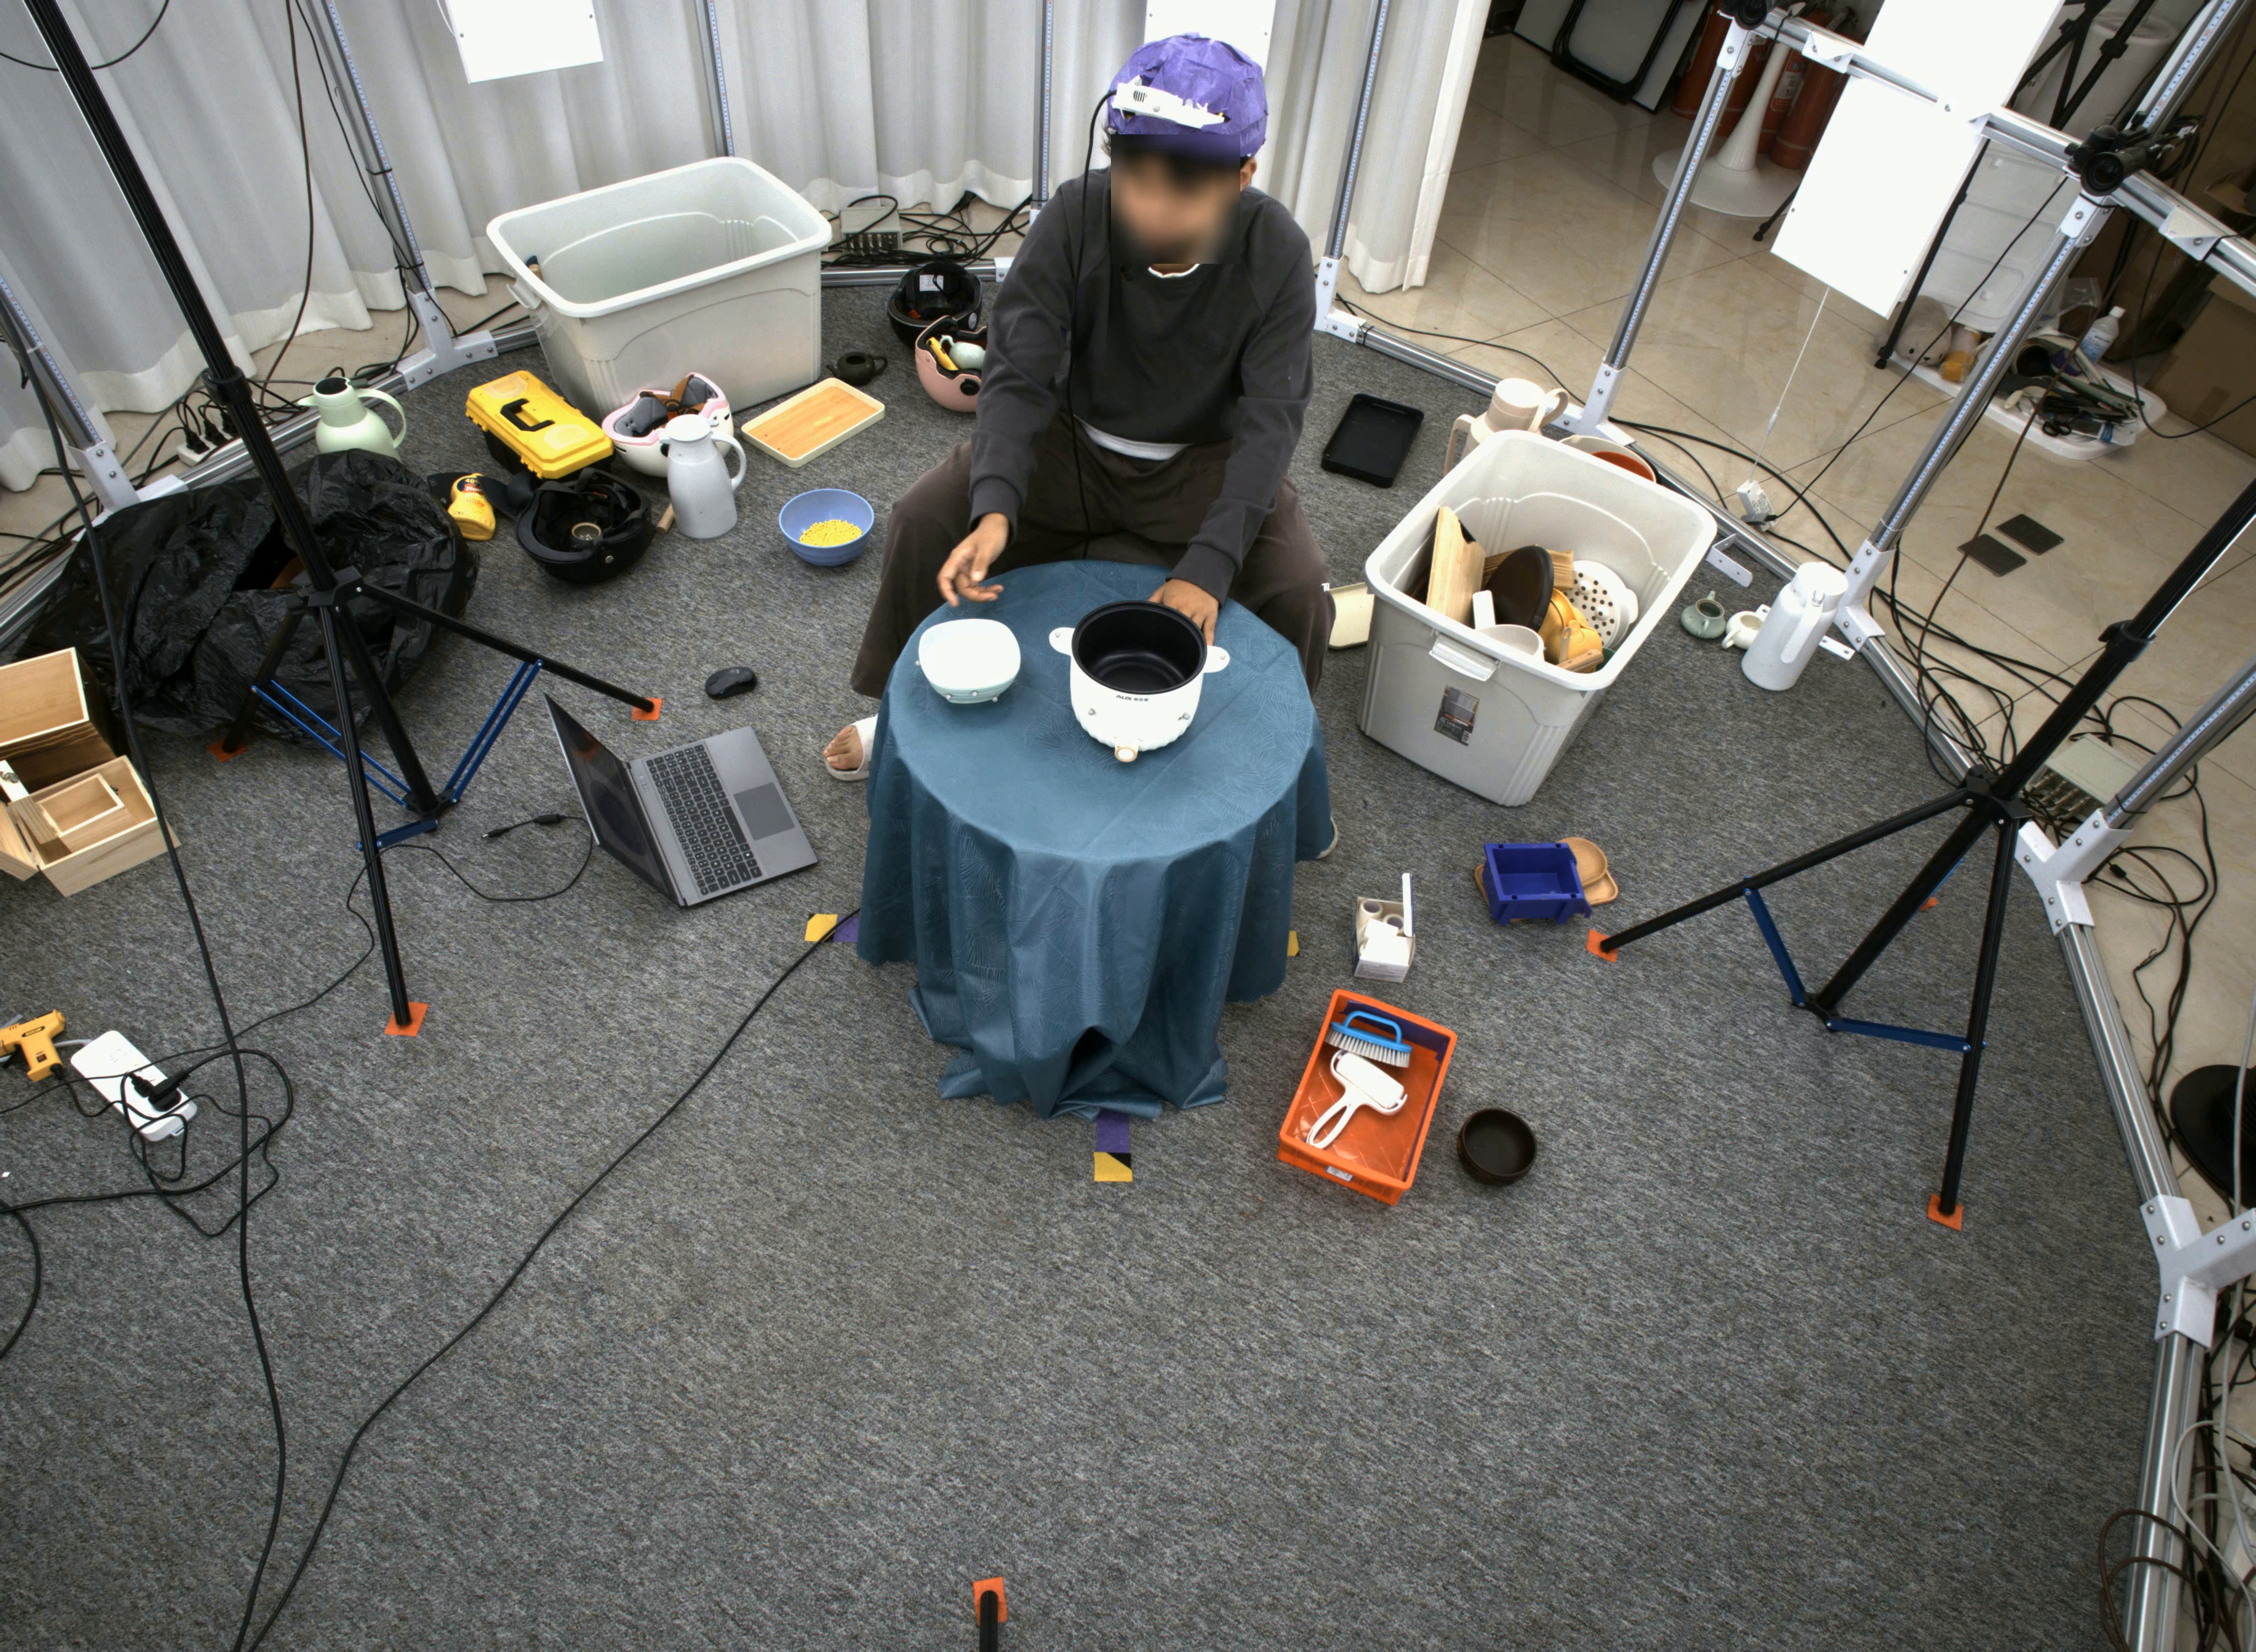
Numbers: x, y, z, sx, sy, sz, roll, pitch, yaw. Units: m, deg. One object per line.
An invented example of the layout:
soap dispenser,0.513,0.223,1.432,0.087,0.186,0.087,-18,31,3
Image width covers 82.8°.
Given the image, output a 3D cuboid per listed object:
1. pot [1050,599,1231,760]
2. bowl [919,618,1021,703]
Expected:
pot,0.014,-0.195,1.745,0.240,0.139,0.195,5,46,2
bowl,-0.220,-0.224,1.806,0.151,0.057,0.155,2,51,-3
